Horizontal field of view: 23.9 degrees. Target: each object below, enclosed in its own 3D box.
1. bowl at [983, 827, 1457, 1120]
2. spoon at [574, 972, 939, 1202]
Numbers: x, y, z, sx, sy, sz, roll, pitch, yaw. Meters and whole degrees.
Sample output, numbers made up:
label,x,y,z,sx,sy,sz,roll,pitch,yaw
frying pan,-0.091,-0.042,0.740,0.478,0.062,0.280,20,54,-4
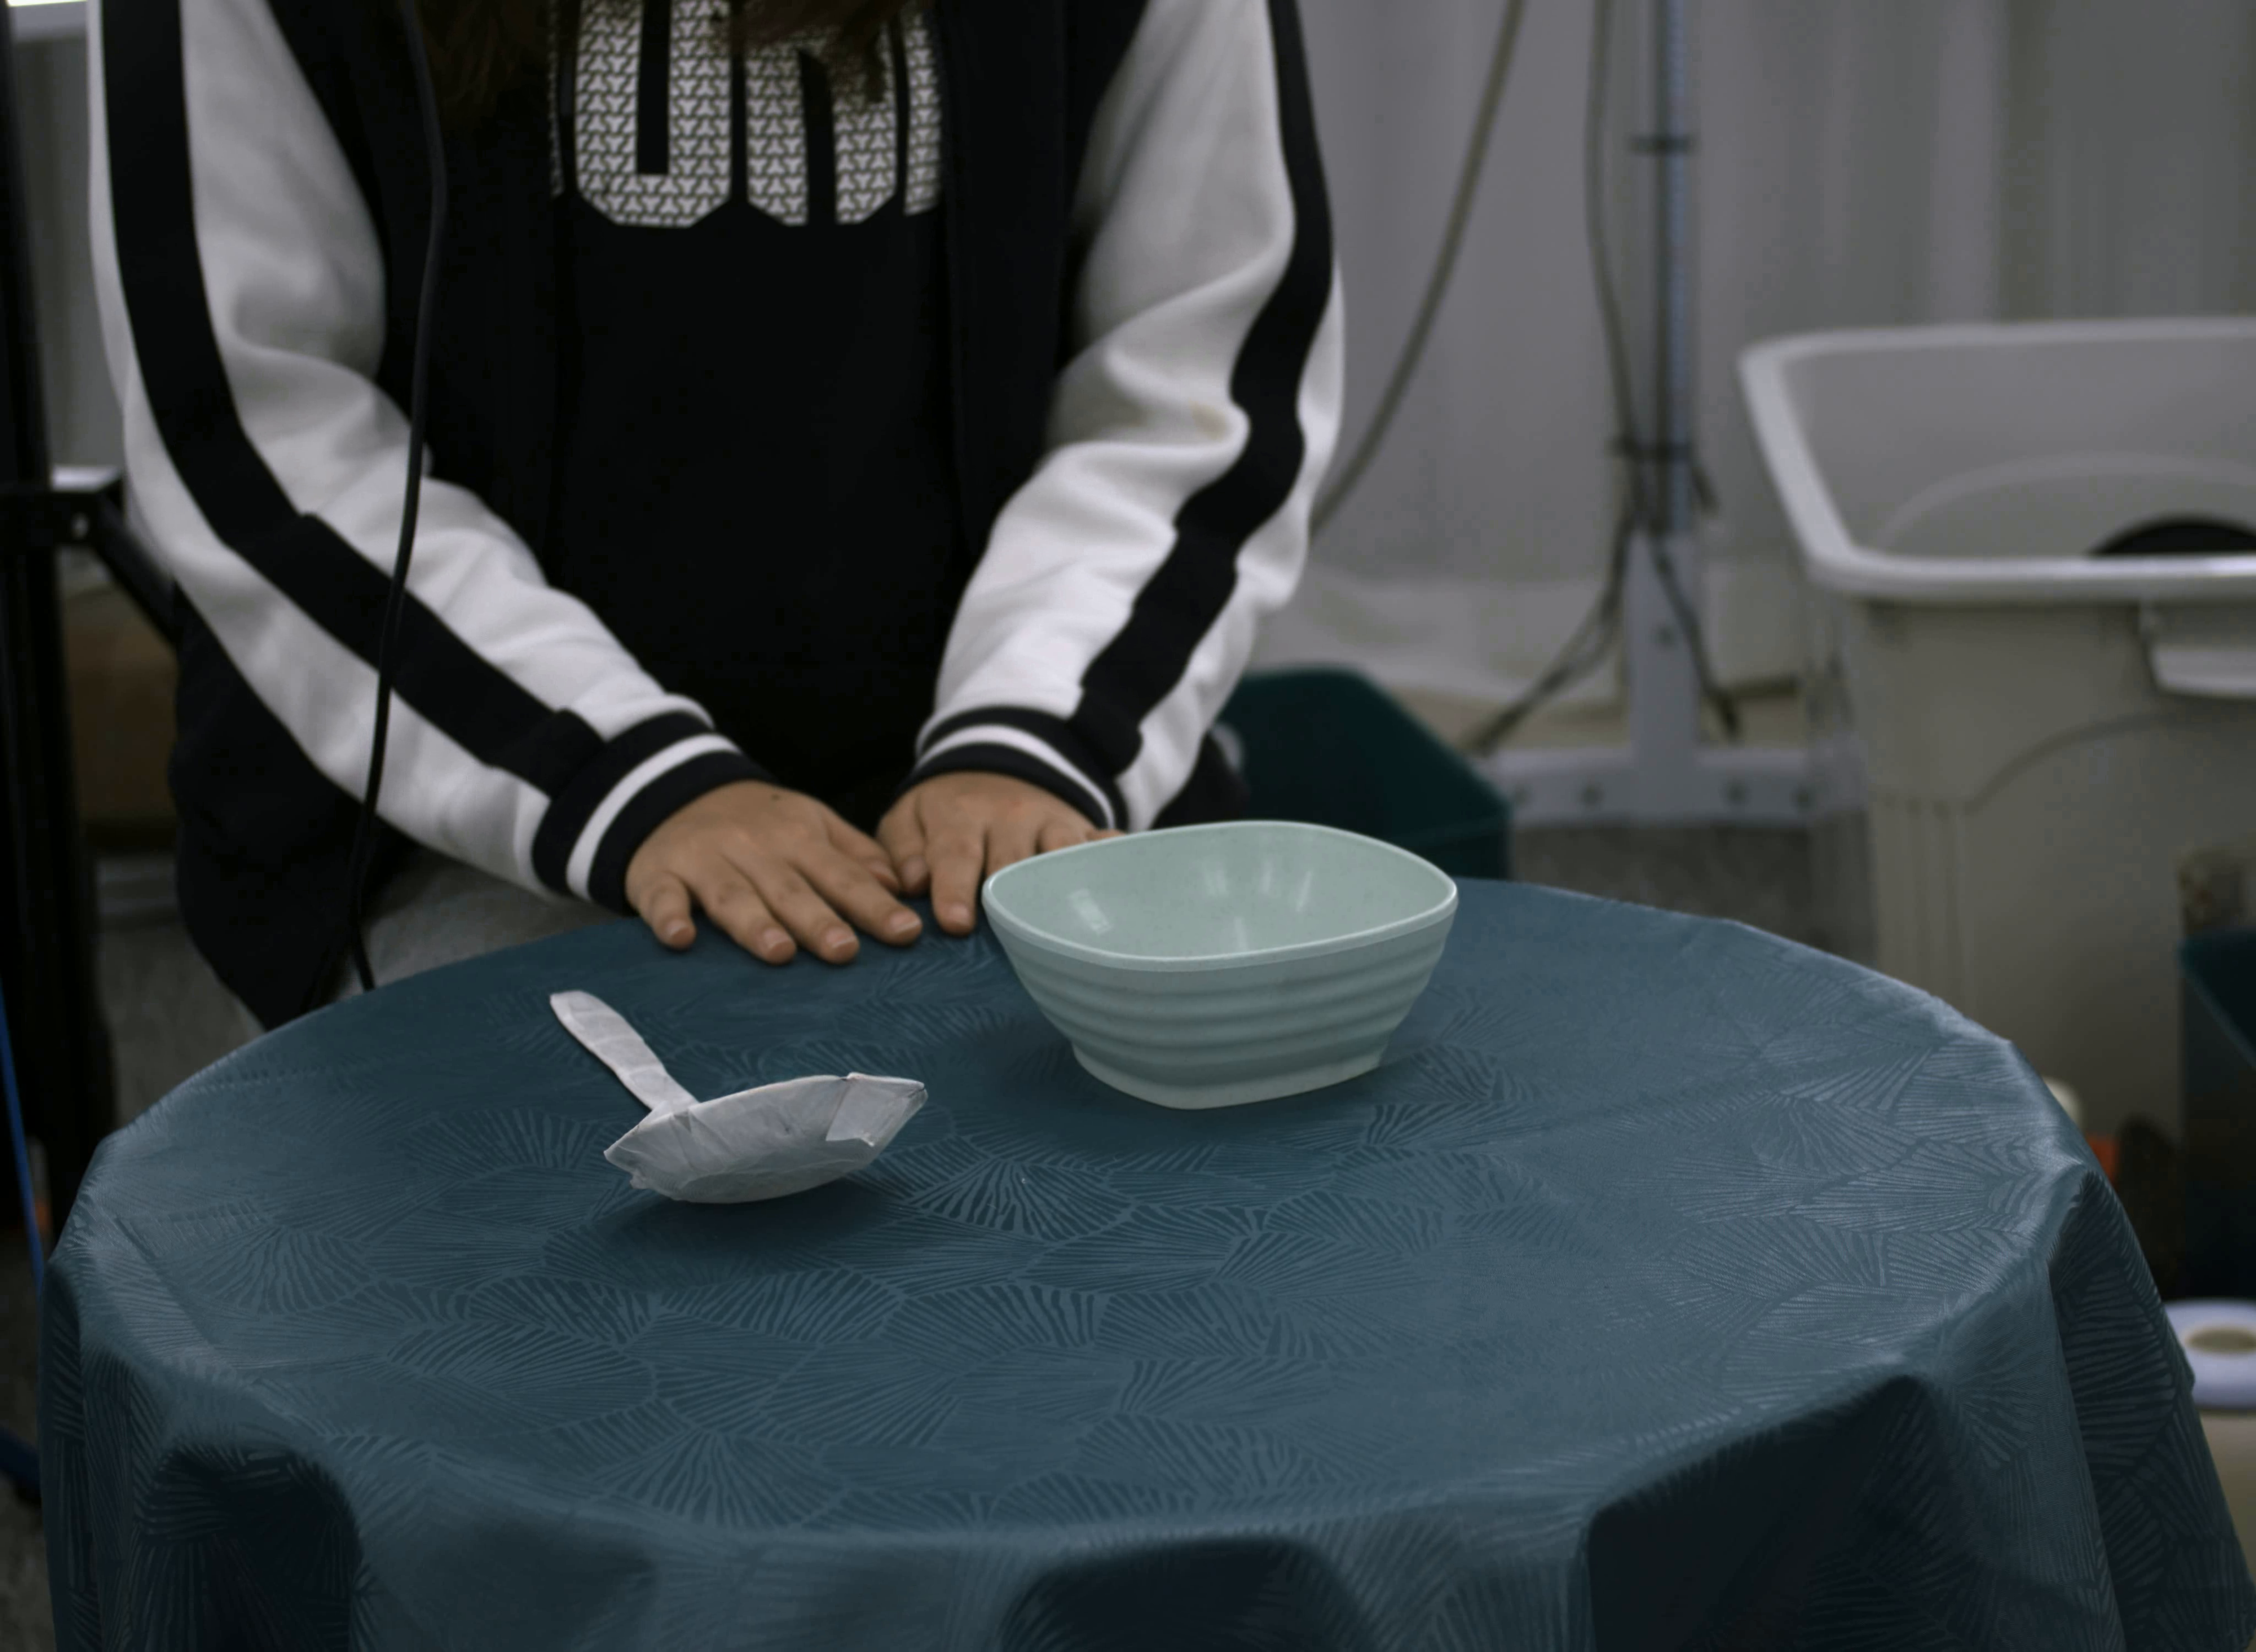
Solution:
label,x,y,z,sx,sy,sz,roll,pitch,yaw
bowl,0.029,0.049,1.665,0.150,0.058,0.152,-3,16,-1
spoon,-0.130,0.062,1.636,0.099,0.059,0.282,-3,16,-17
